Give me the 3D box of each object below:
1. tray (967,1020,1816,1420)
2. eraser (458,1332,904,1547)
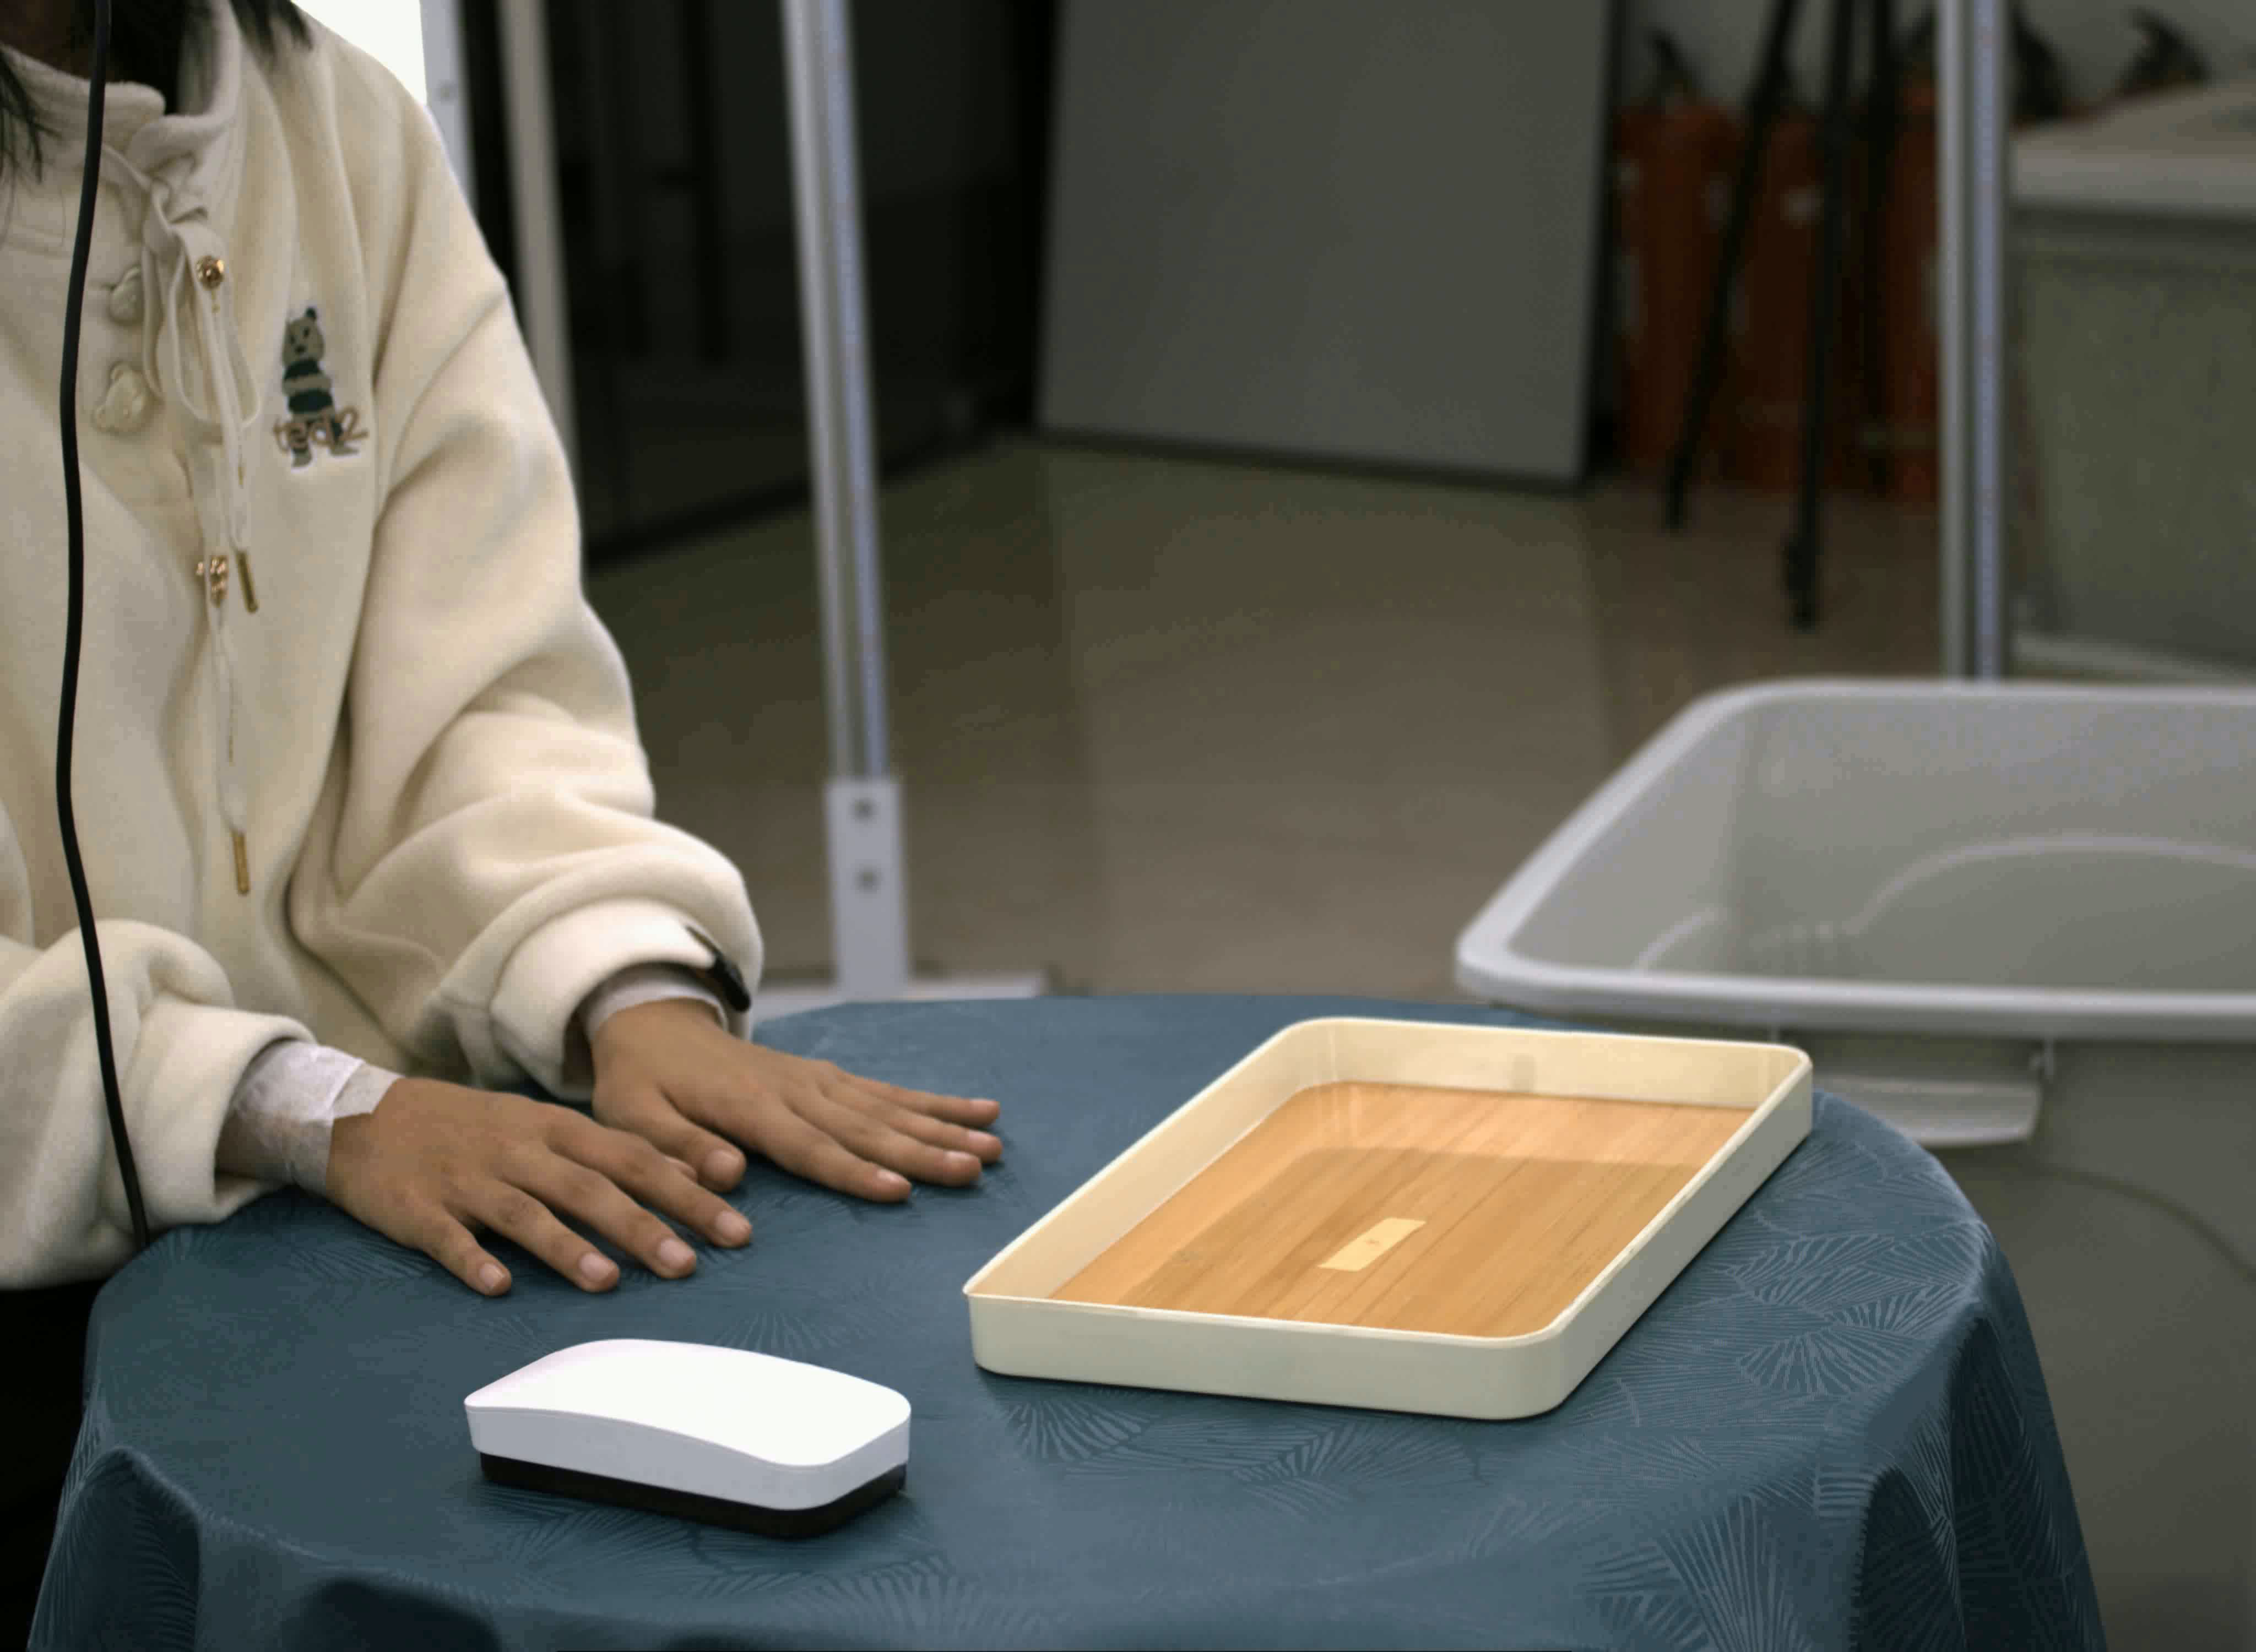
[{"bbox_3d":[0.090,0.119,1.695,0.192,0.028,0.296,2,15,24],"label":"tray"},{"bbox_3d":[-0.126,0.172,1.536,0.132,0.035,0.062,7,17,35],"label":"eraser"}]
